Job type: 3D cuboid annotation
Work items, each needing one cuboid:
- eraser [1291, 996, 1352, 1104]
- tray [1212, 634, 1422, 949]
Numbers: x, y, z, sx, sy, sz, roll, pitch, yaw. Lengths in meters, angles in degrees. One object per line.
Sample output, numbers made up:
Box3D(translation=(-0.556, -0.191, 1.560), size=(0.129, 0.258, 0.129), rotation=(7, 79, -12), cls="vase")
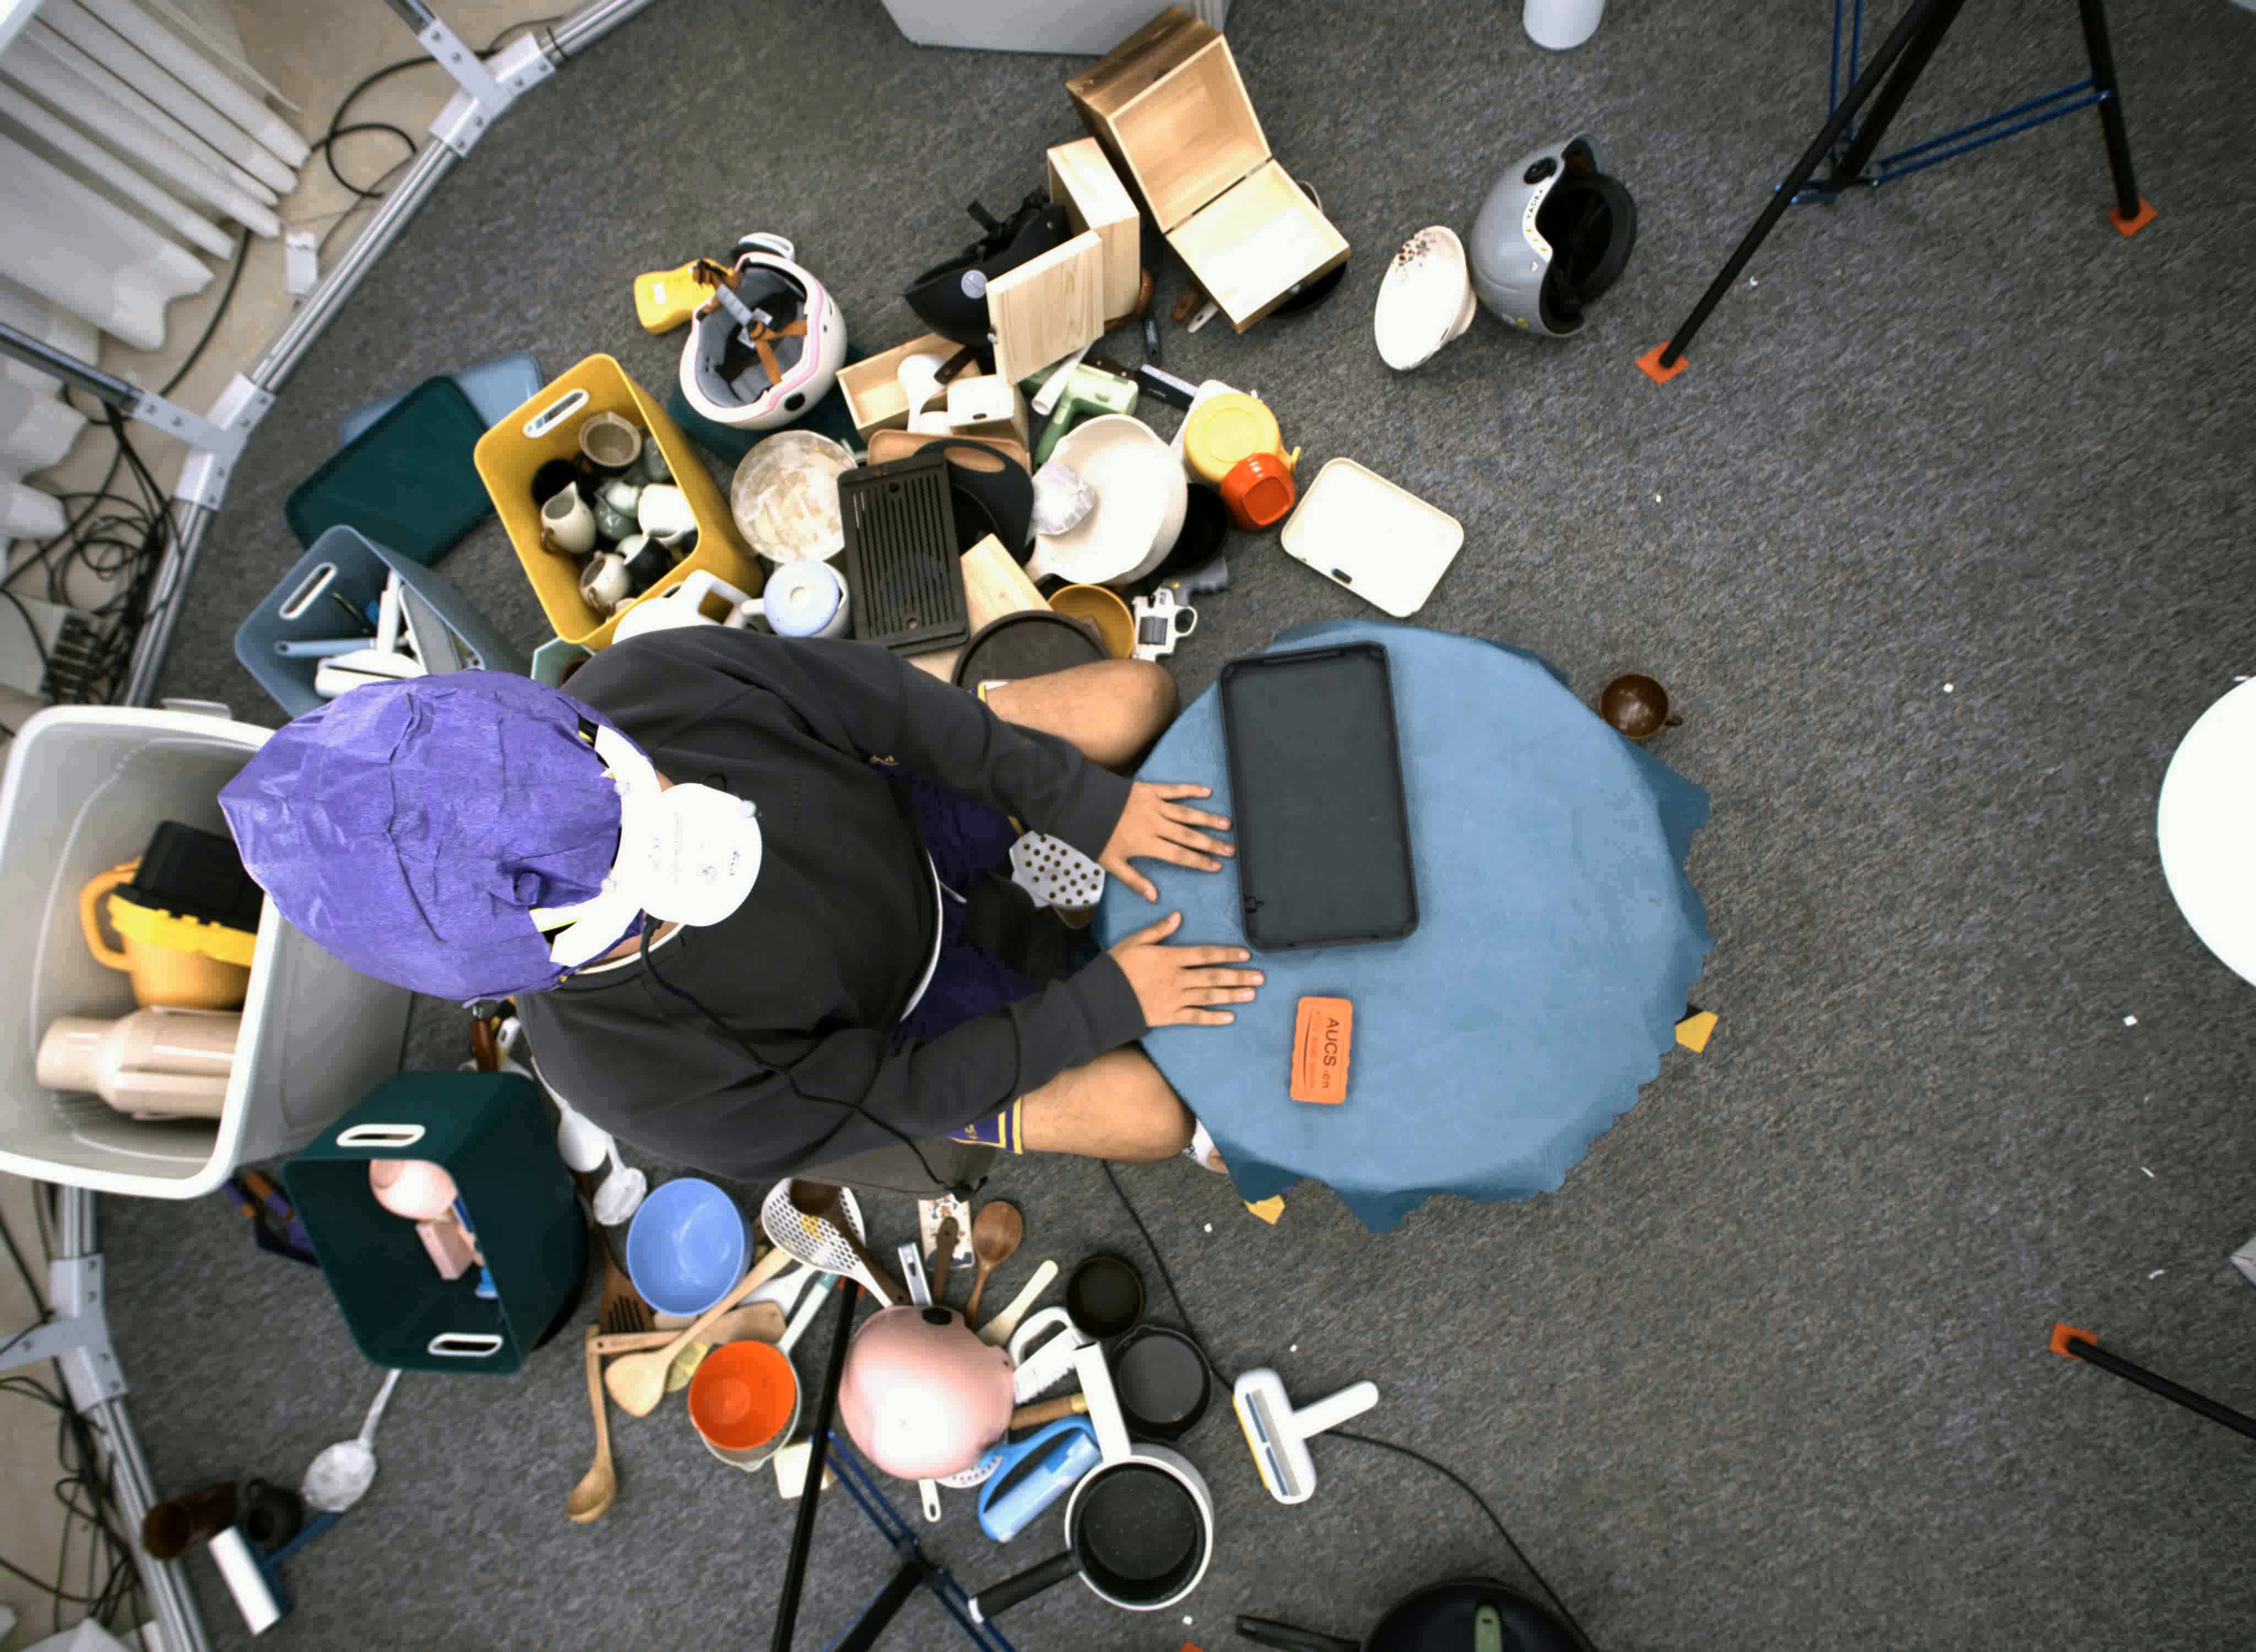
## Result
Box3D(translation=(0.202, 0.232, 1.447), size=(0.059, 0.023, 0.108), rotation=(4, 89, 16), cls="eraser")
Box3D(translation=(0.199, -0.036, 1.461), size=(0.185, 0.037, 0.316), rotation=(-8, 86, 10), cls="tray")
